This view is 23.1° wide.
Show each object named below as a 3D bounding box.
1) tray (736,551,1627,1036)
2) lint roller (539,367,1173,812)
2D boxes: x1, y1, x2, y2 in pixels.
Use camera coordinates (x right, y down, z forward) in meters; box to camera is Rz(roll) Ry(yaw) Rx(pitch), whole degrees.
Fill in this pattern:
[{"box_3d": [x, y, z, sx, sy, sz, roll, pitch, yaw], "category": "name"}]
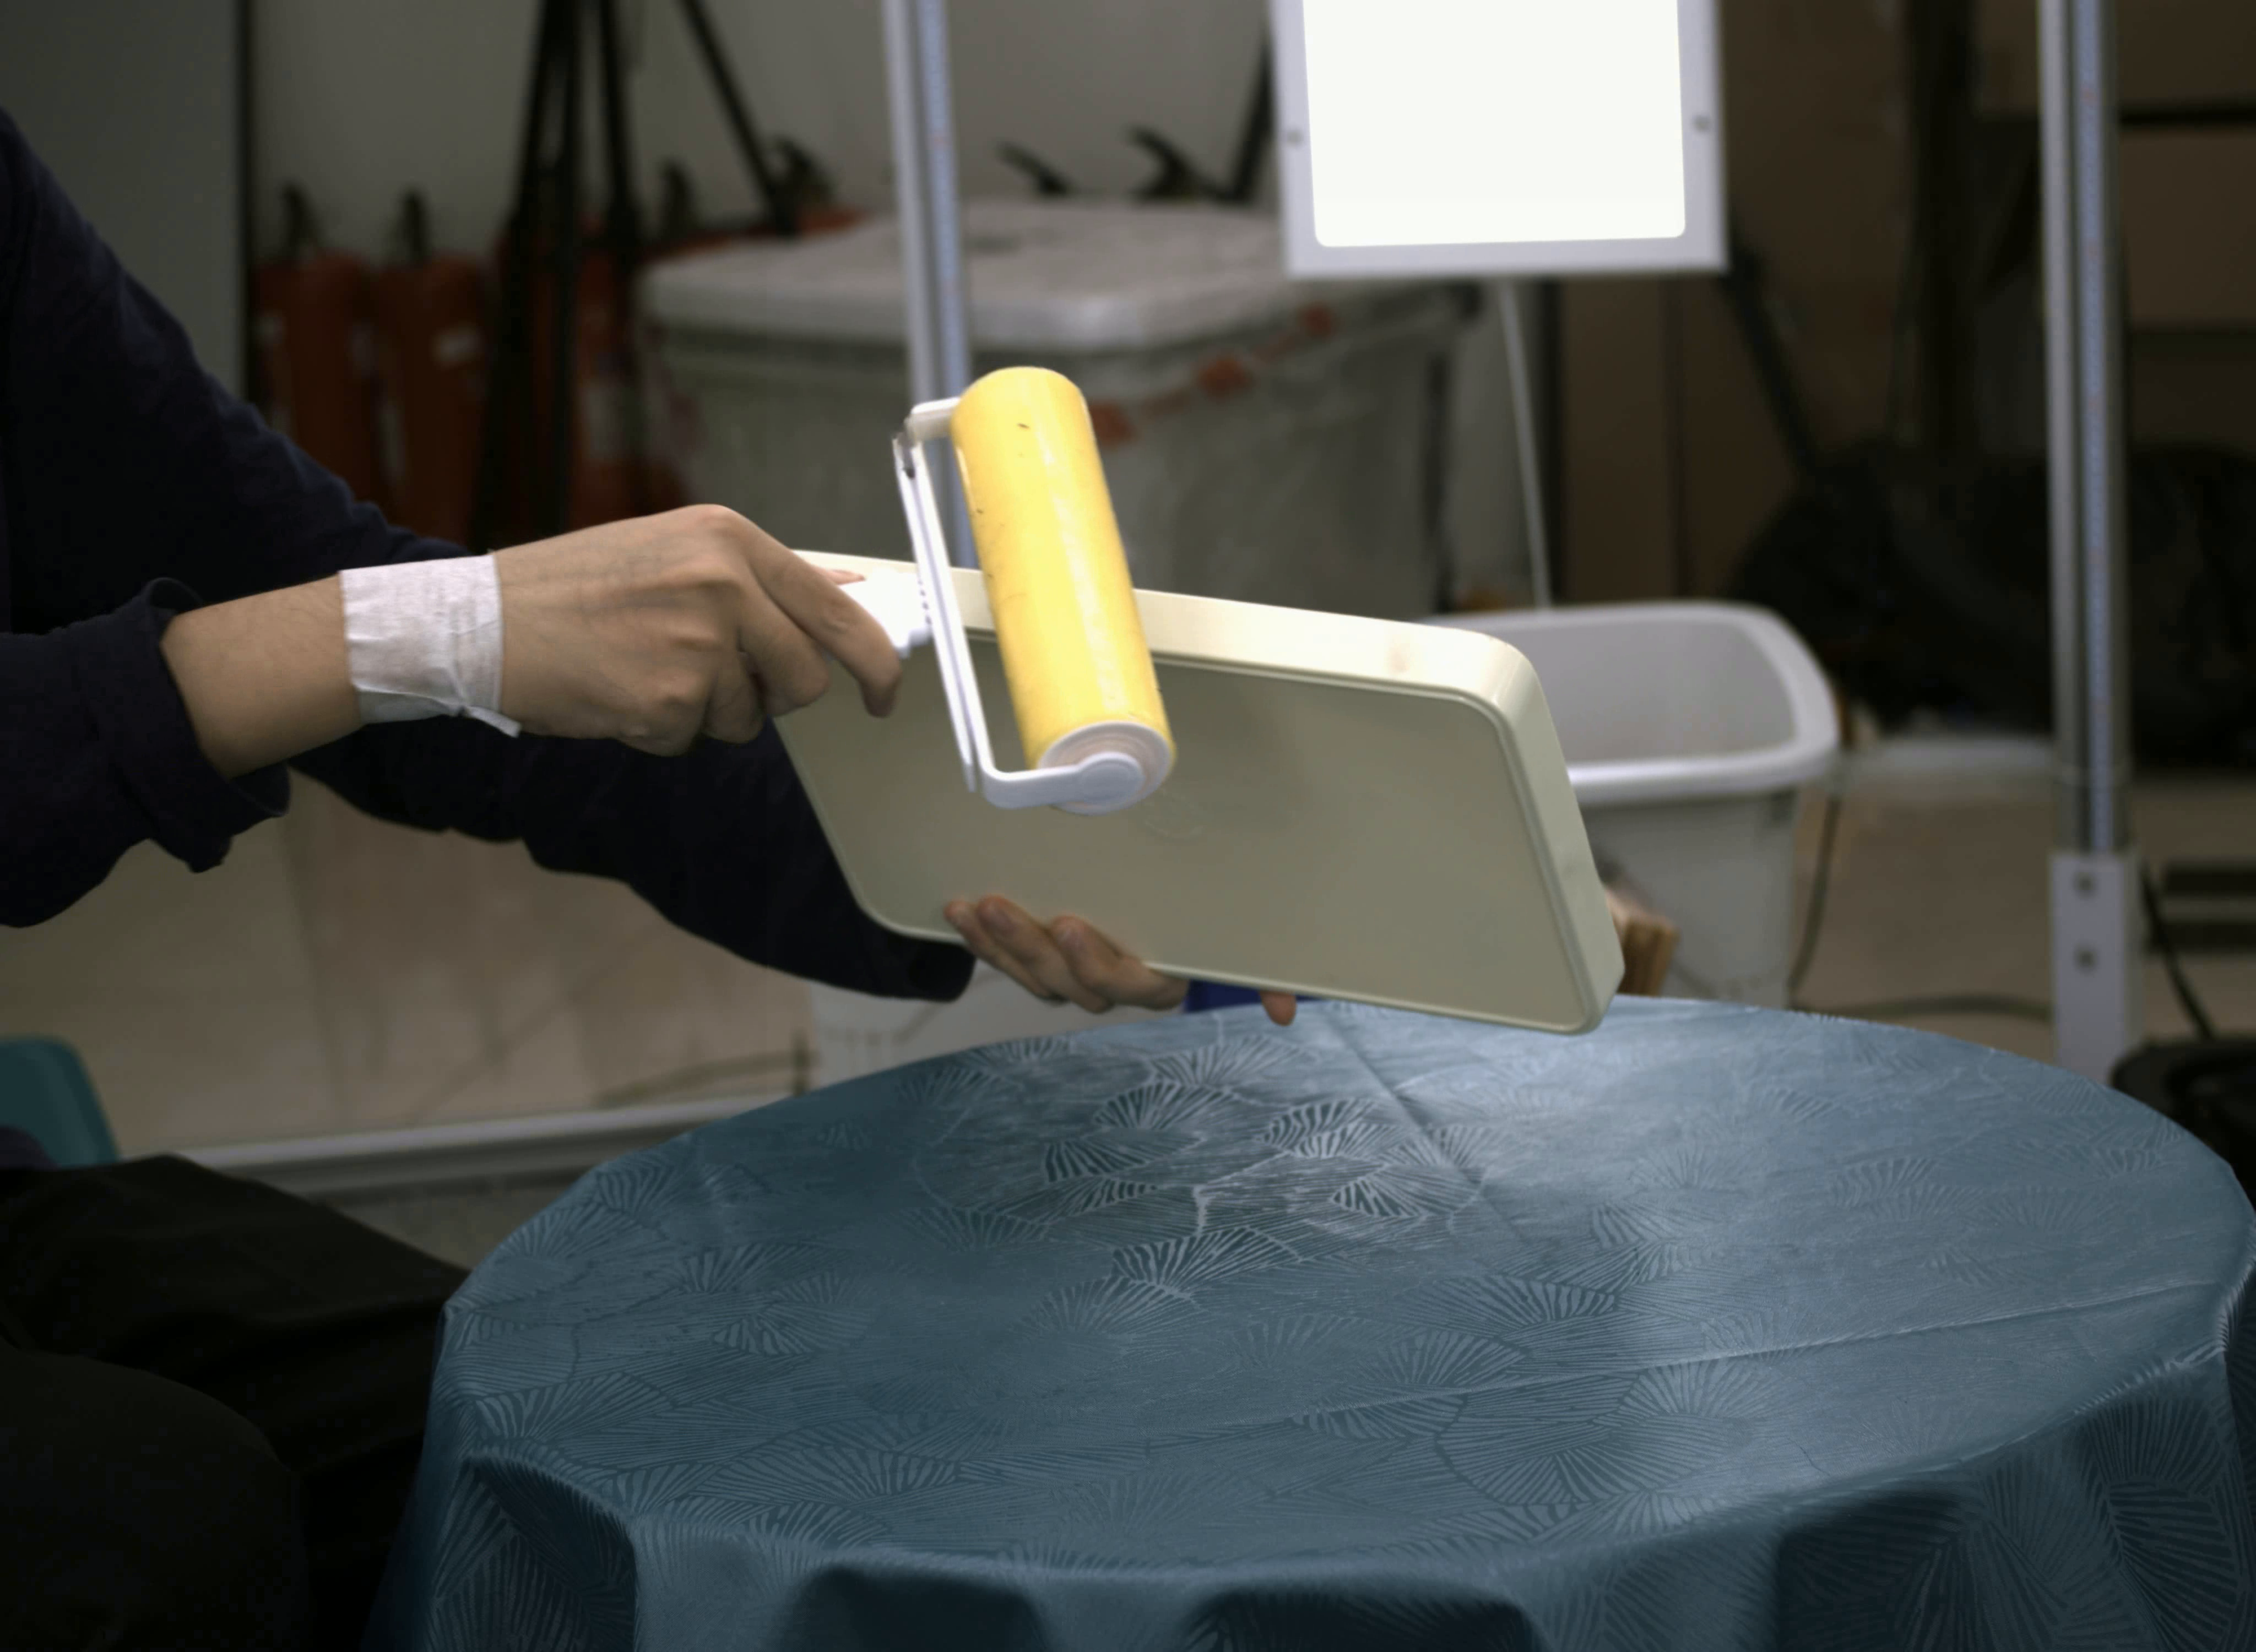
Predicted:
[{"box_3d": [0.018, -0.011, 1.930, 0.305, 0.191, 0.027, 8, 52, 27], "category": "tray"}, {"box_3d": [-0.095, -0.072, 1.787, 0.189, 0.052, 0.175, -4, 49, -12], "category": "lint roller"}]
